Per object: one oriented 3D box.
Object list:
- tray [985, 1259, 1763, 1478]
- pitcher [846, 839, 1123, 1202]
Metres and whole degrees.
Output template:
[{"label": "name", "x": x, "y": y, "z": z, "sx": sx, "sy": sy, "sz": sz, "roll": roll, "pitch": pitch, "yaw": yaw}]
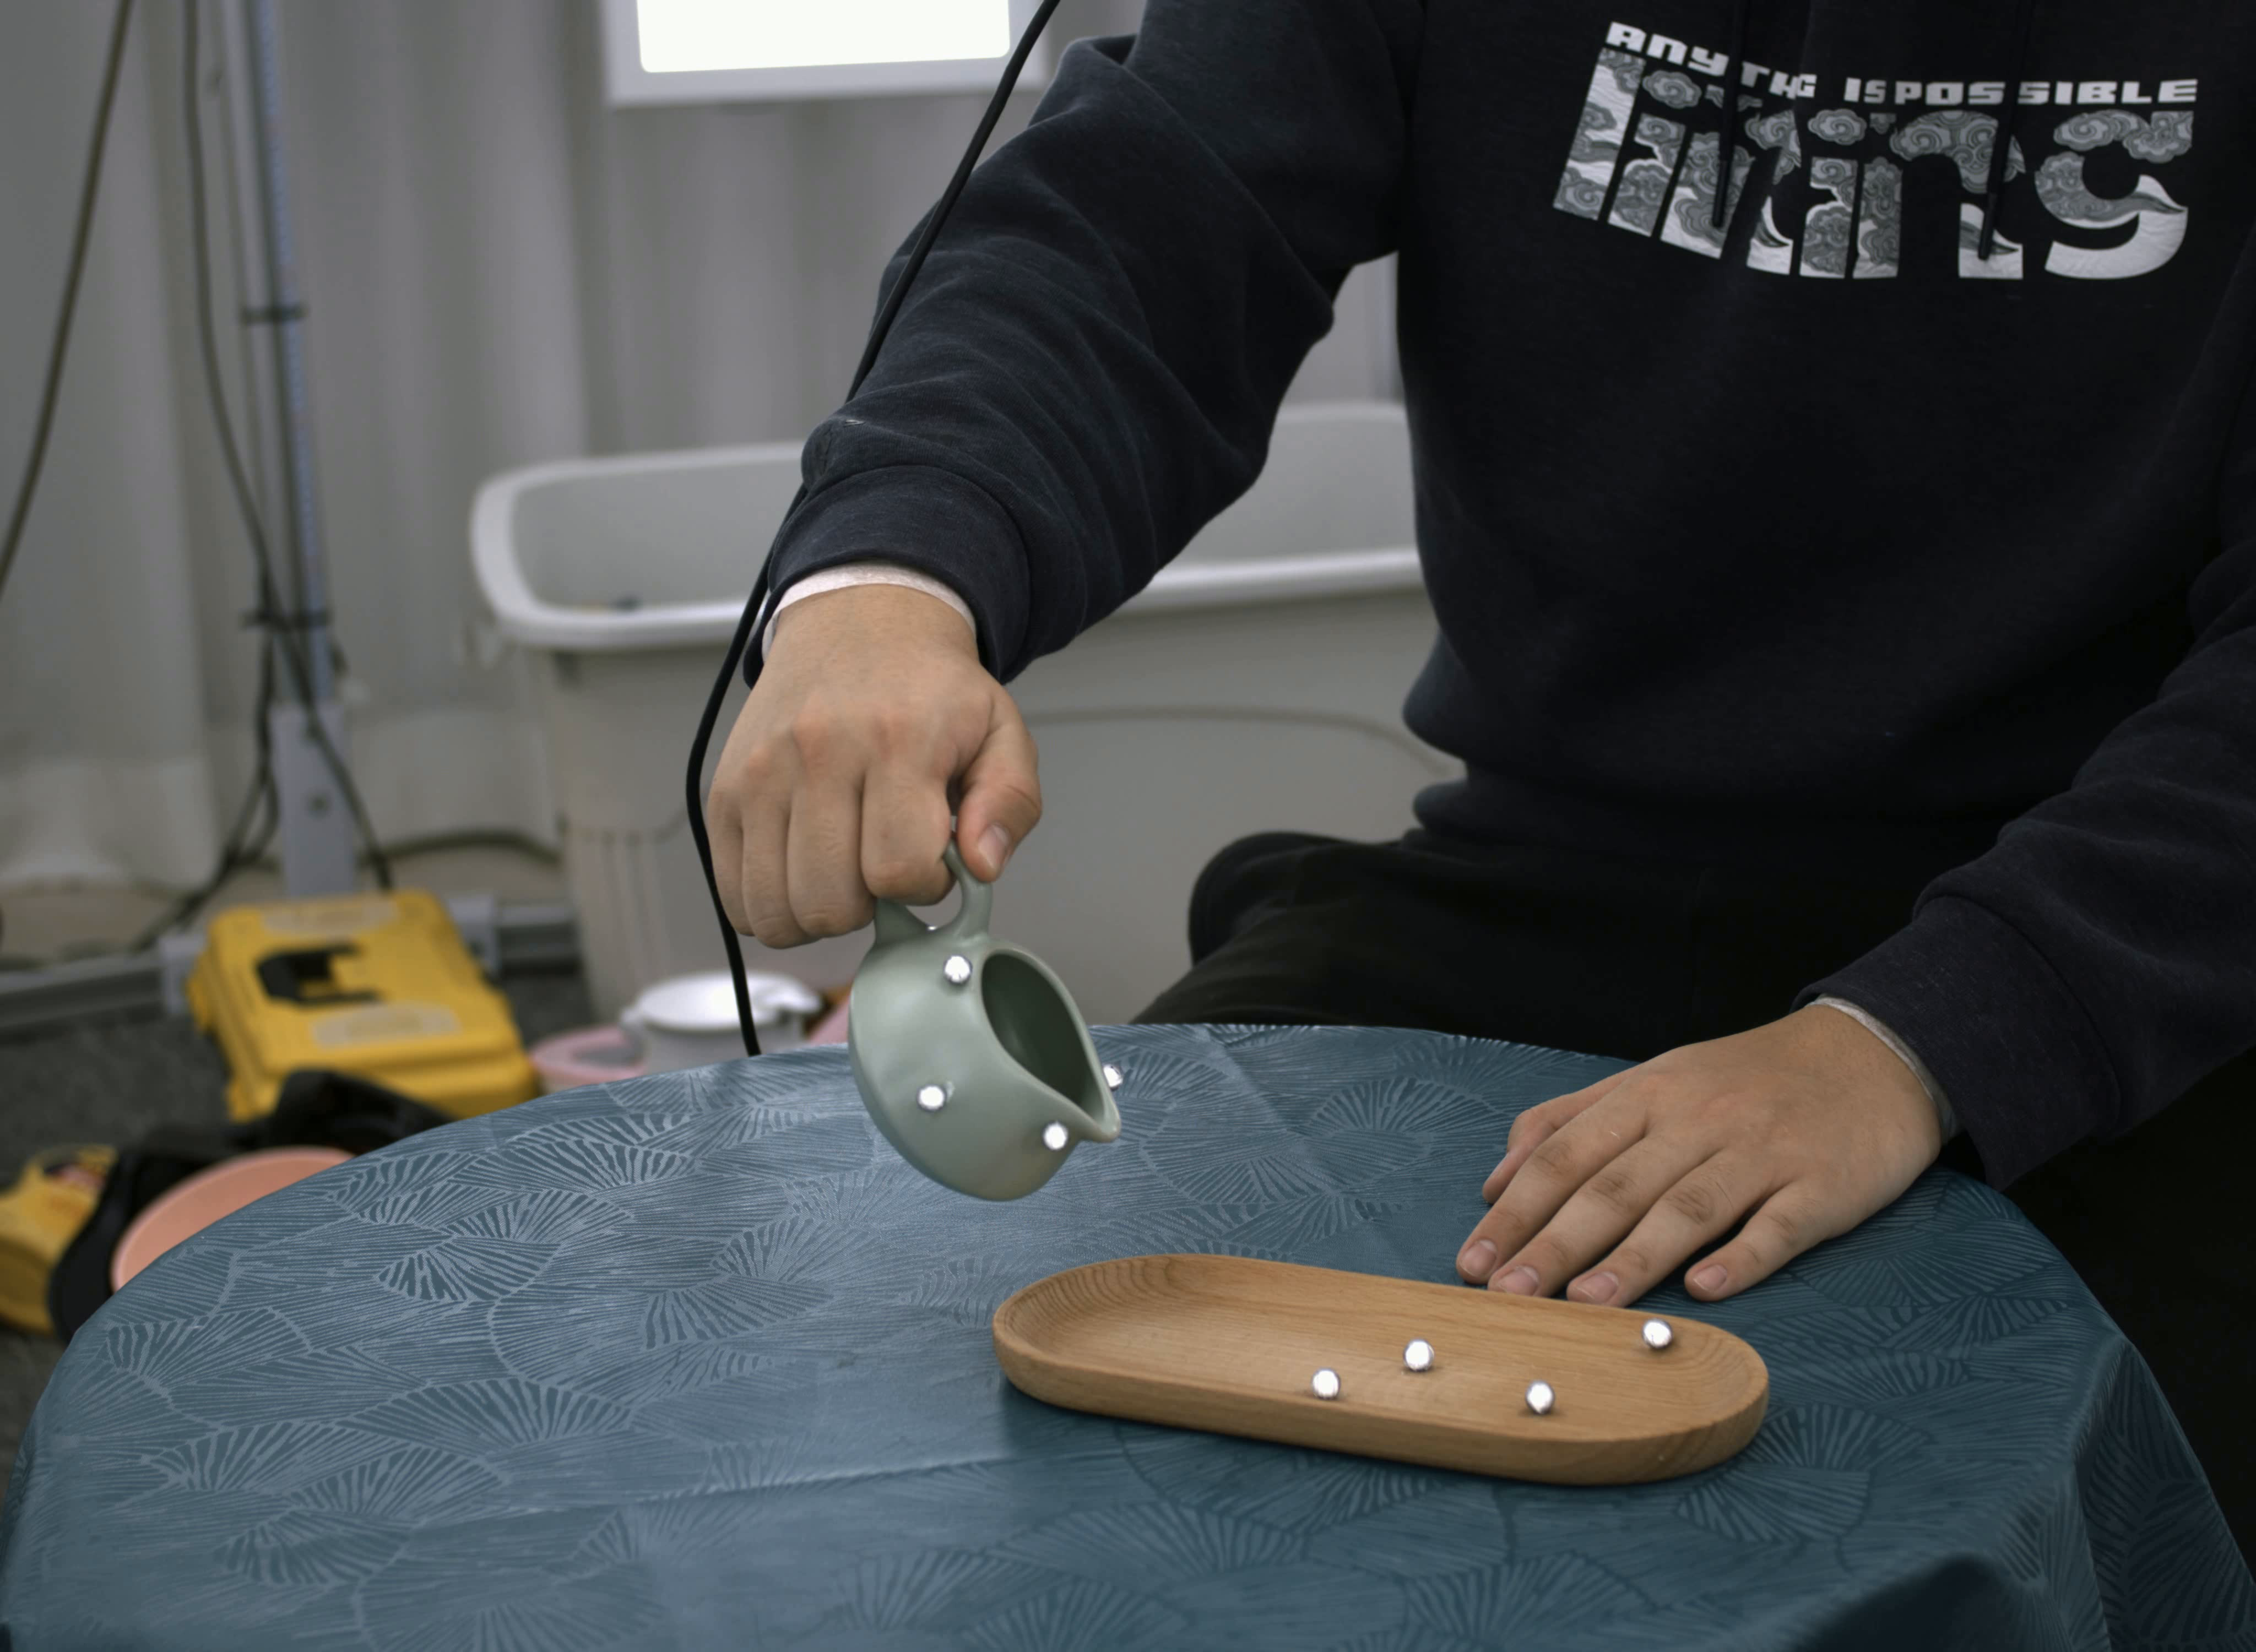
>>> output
[{"label": "tray", "x": 0.067, "y": 0.152, "z": 1.536, "sx": 0.231, "sy": 0.020, "sz": 0.102, "roll": 3, "pitch": 14, "yaw": 28}, {"label": "pitcher", "x": -0.049, "y": 0.056, "z": 1.588, "sx": 0.060, "sy": 0.108, "sz": 0.086, "roll": -34, "pitch": -4, "yaw": 30}]
